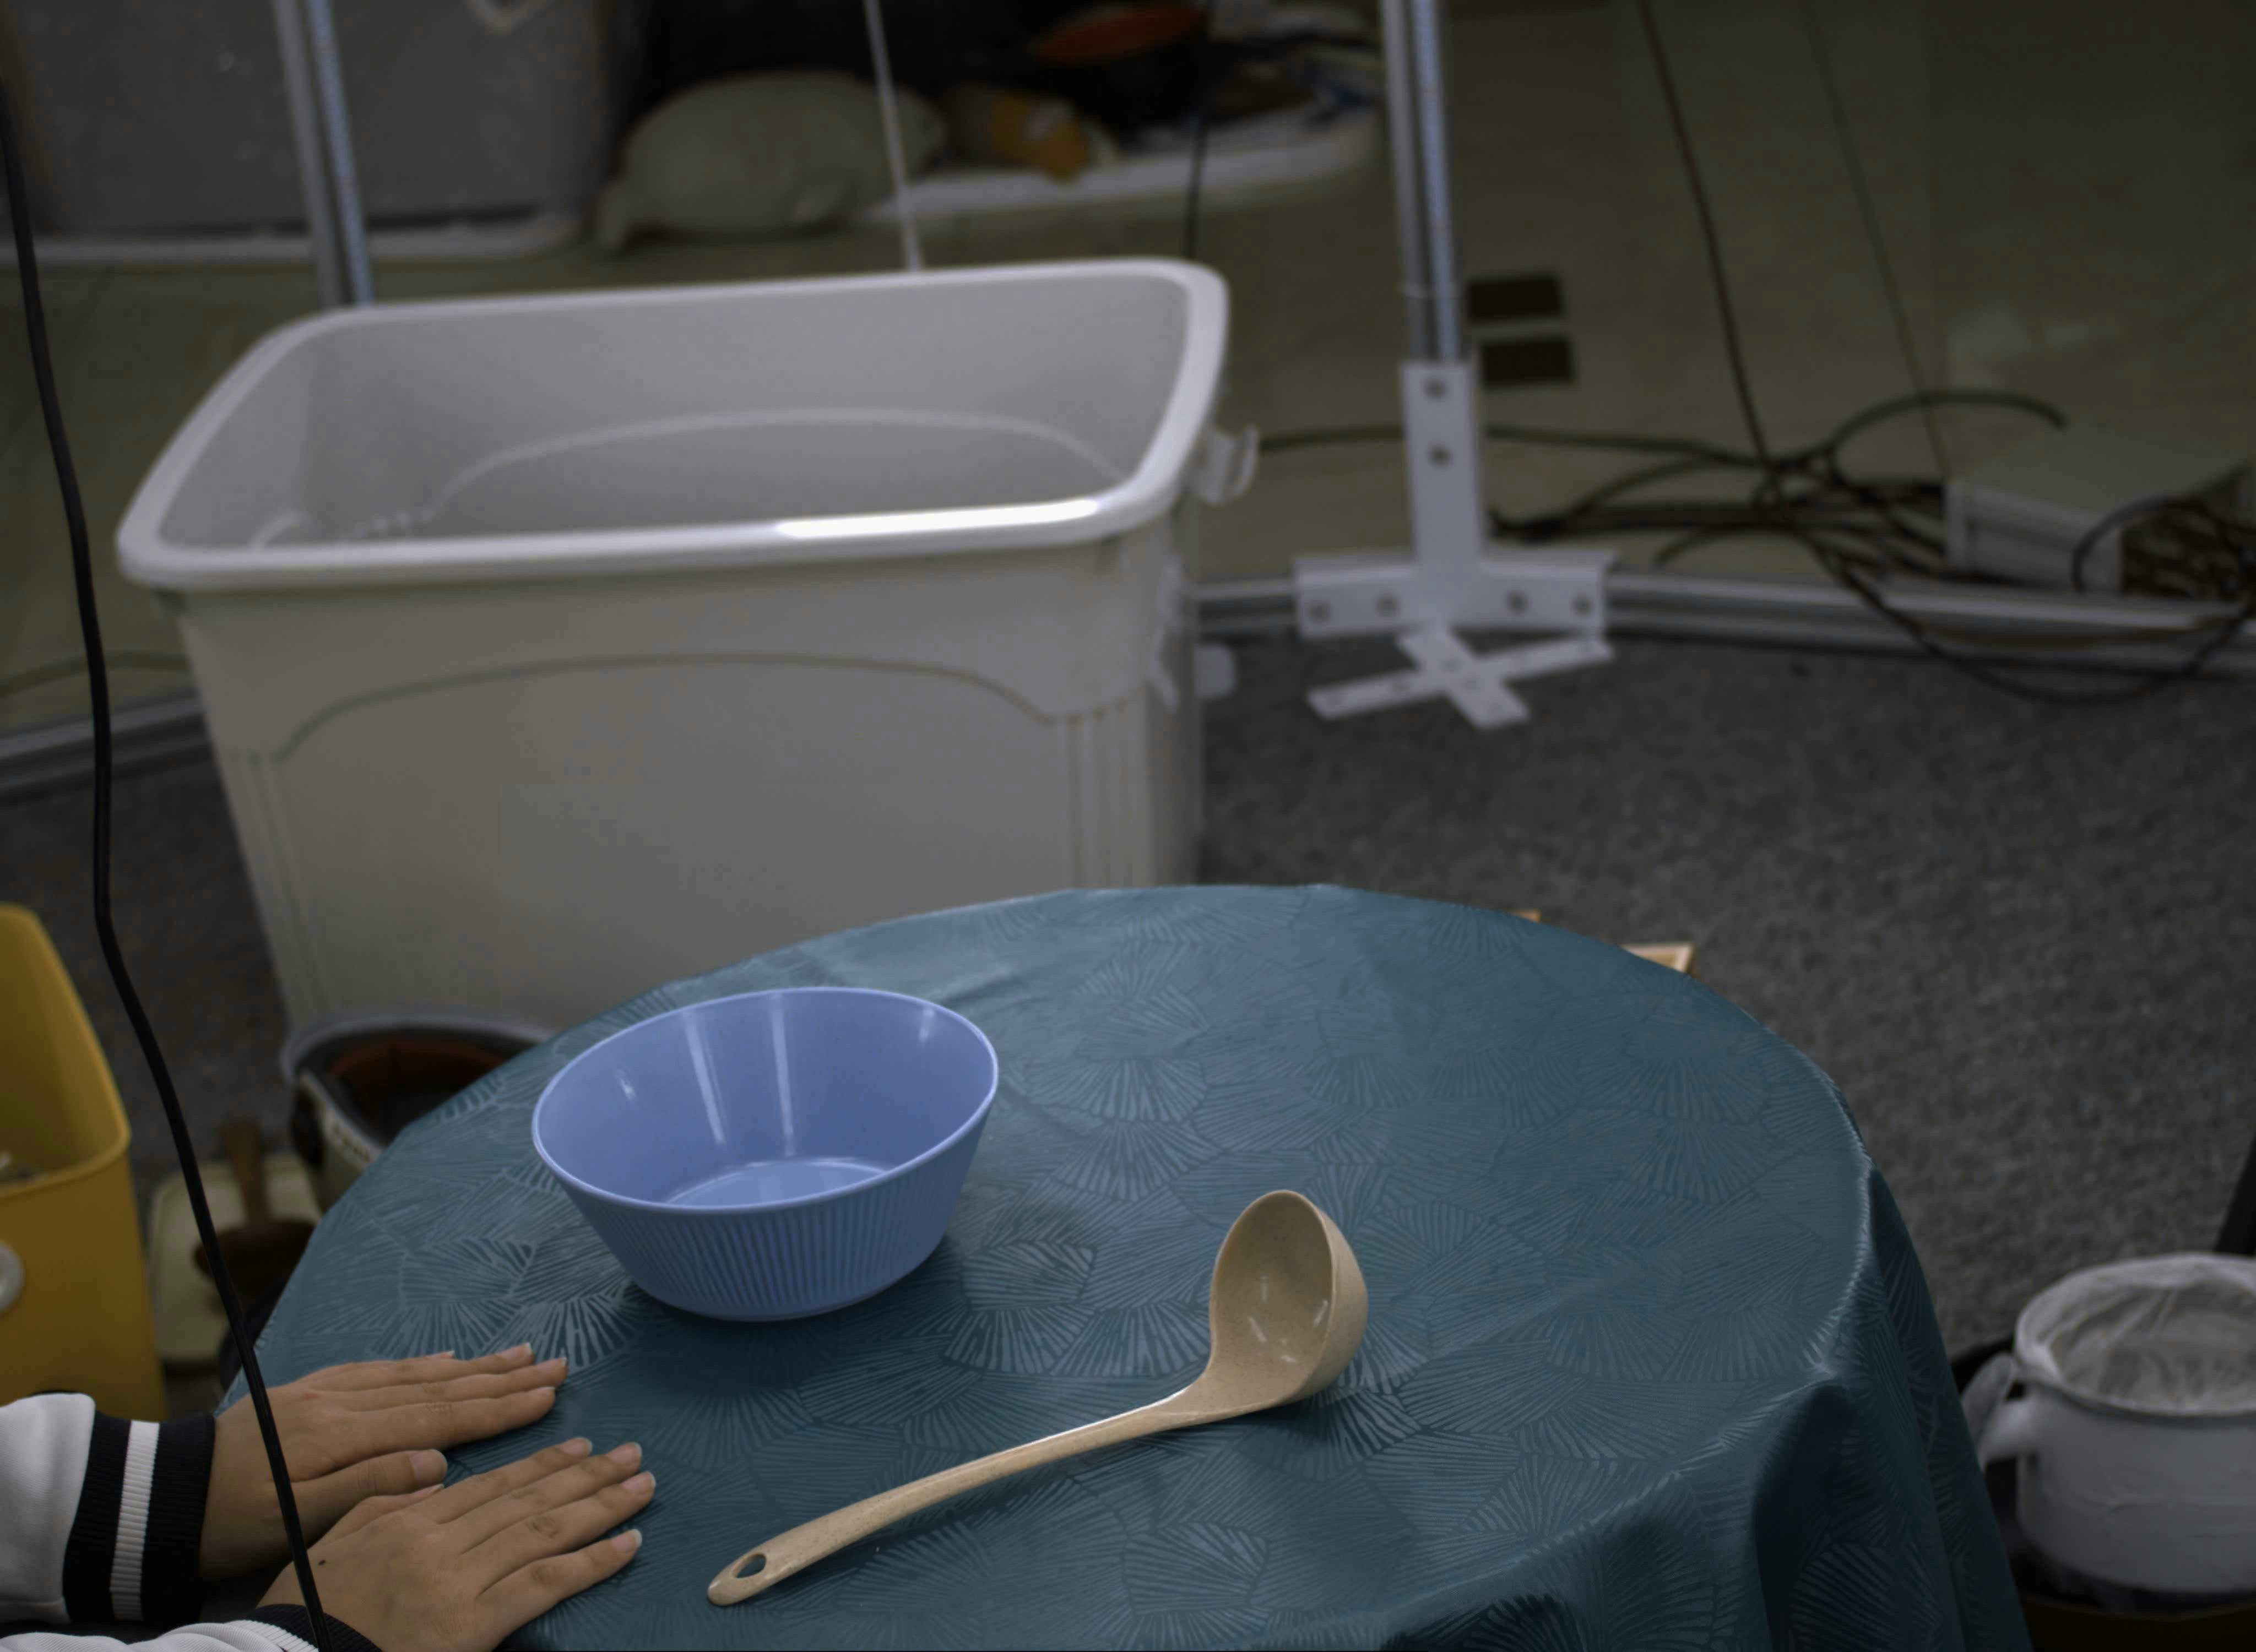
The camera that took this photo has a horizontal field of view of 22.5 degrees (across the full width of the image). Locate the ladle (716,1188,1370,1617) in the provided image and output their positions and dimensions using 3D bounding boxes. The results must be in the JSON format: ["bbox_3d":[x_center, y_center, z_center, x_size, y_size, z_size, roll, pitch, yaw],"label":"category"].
[{"bbox_3d":[-0.032,0.195,1.949,0.253,0.074,0.071,-19,33,-25],"label":"ladle"}]

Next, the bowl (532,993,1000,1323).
[{"bbox_3d":[-0.131,0.130,2.117,0.176,0.071,0.173,-6,24,3],"label":"bowl"}]
